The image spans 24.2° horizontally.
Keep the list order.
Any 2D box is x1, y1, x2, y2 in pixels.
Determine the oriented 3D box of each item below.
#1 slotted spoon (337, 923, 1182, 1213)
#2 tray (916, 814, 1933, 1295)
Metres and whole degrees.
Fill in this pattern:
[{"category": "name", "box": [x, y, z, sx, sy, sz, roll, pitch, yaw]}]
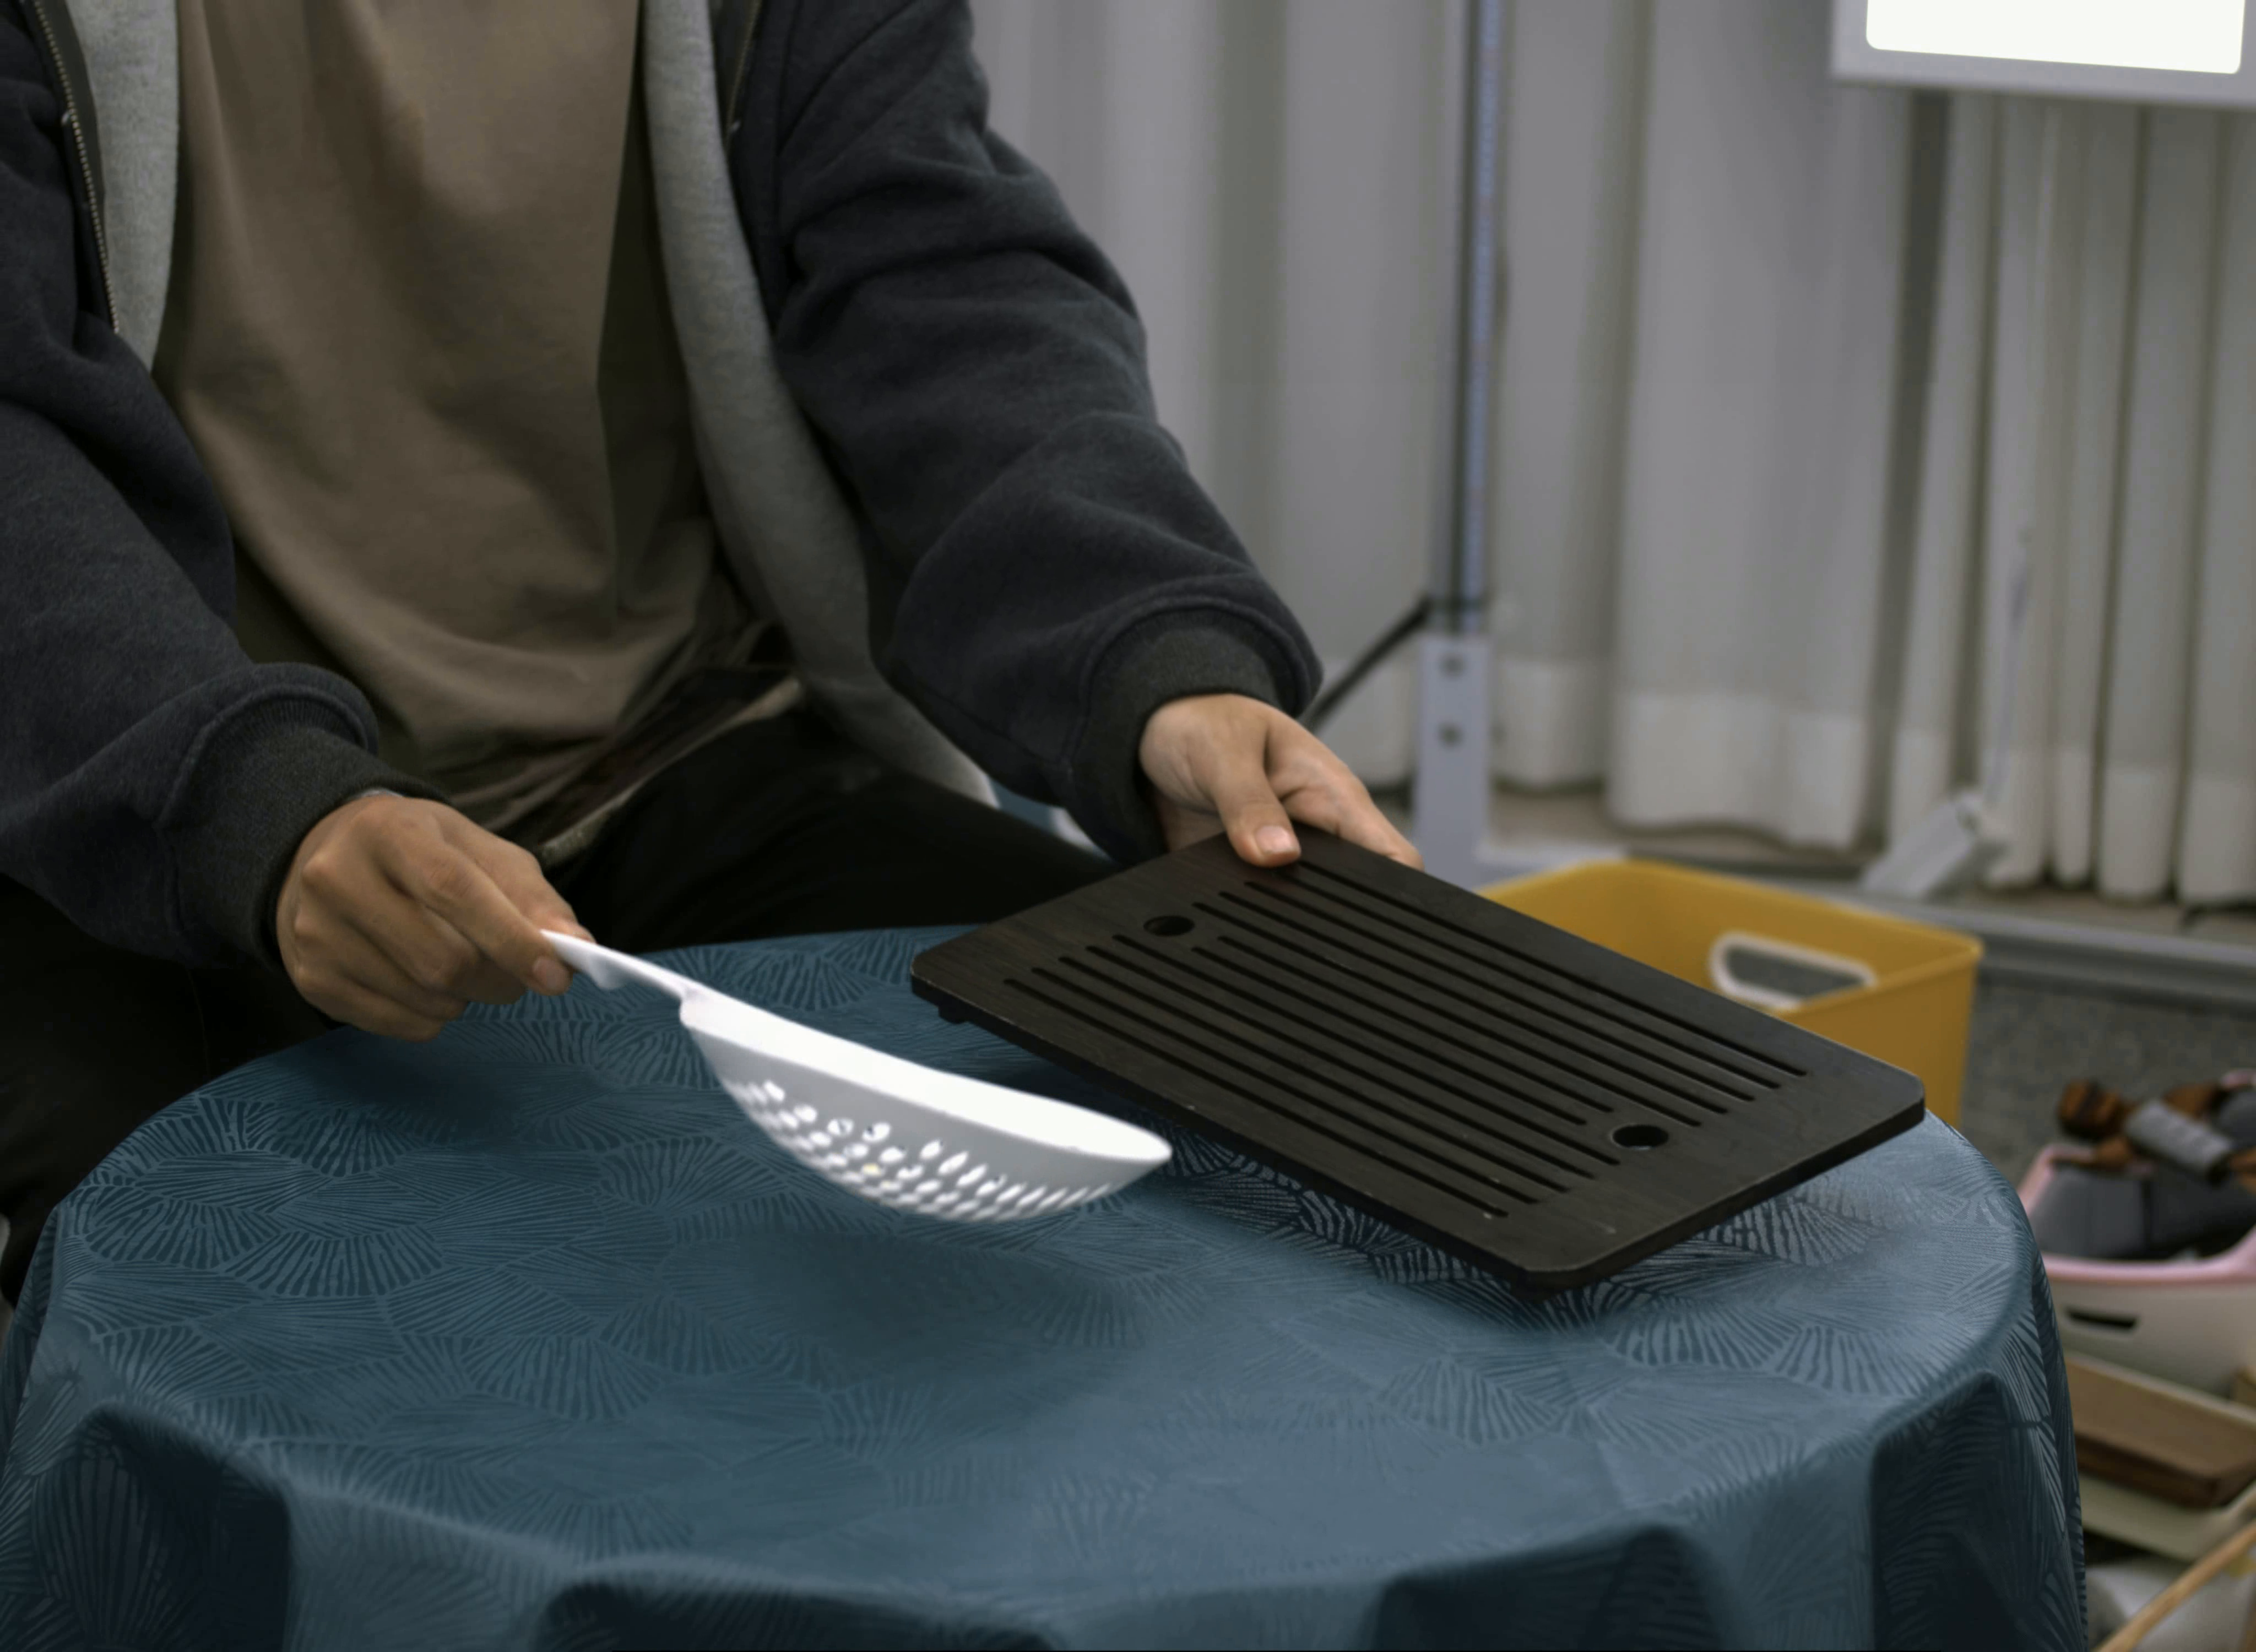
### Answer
[{"category": "slotted spoon", "box": [-0.128, 0.061, 1.586, 0.138, 0.050, 0.343, 13, 6, -44]}, {"category": "tray", "box": [0.088, 0.067, 1.656, 0.170, 0.019, 0.301, -21, 30, -36]}]
